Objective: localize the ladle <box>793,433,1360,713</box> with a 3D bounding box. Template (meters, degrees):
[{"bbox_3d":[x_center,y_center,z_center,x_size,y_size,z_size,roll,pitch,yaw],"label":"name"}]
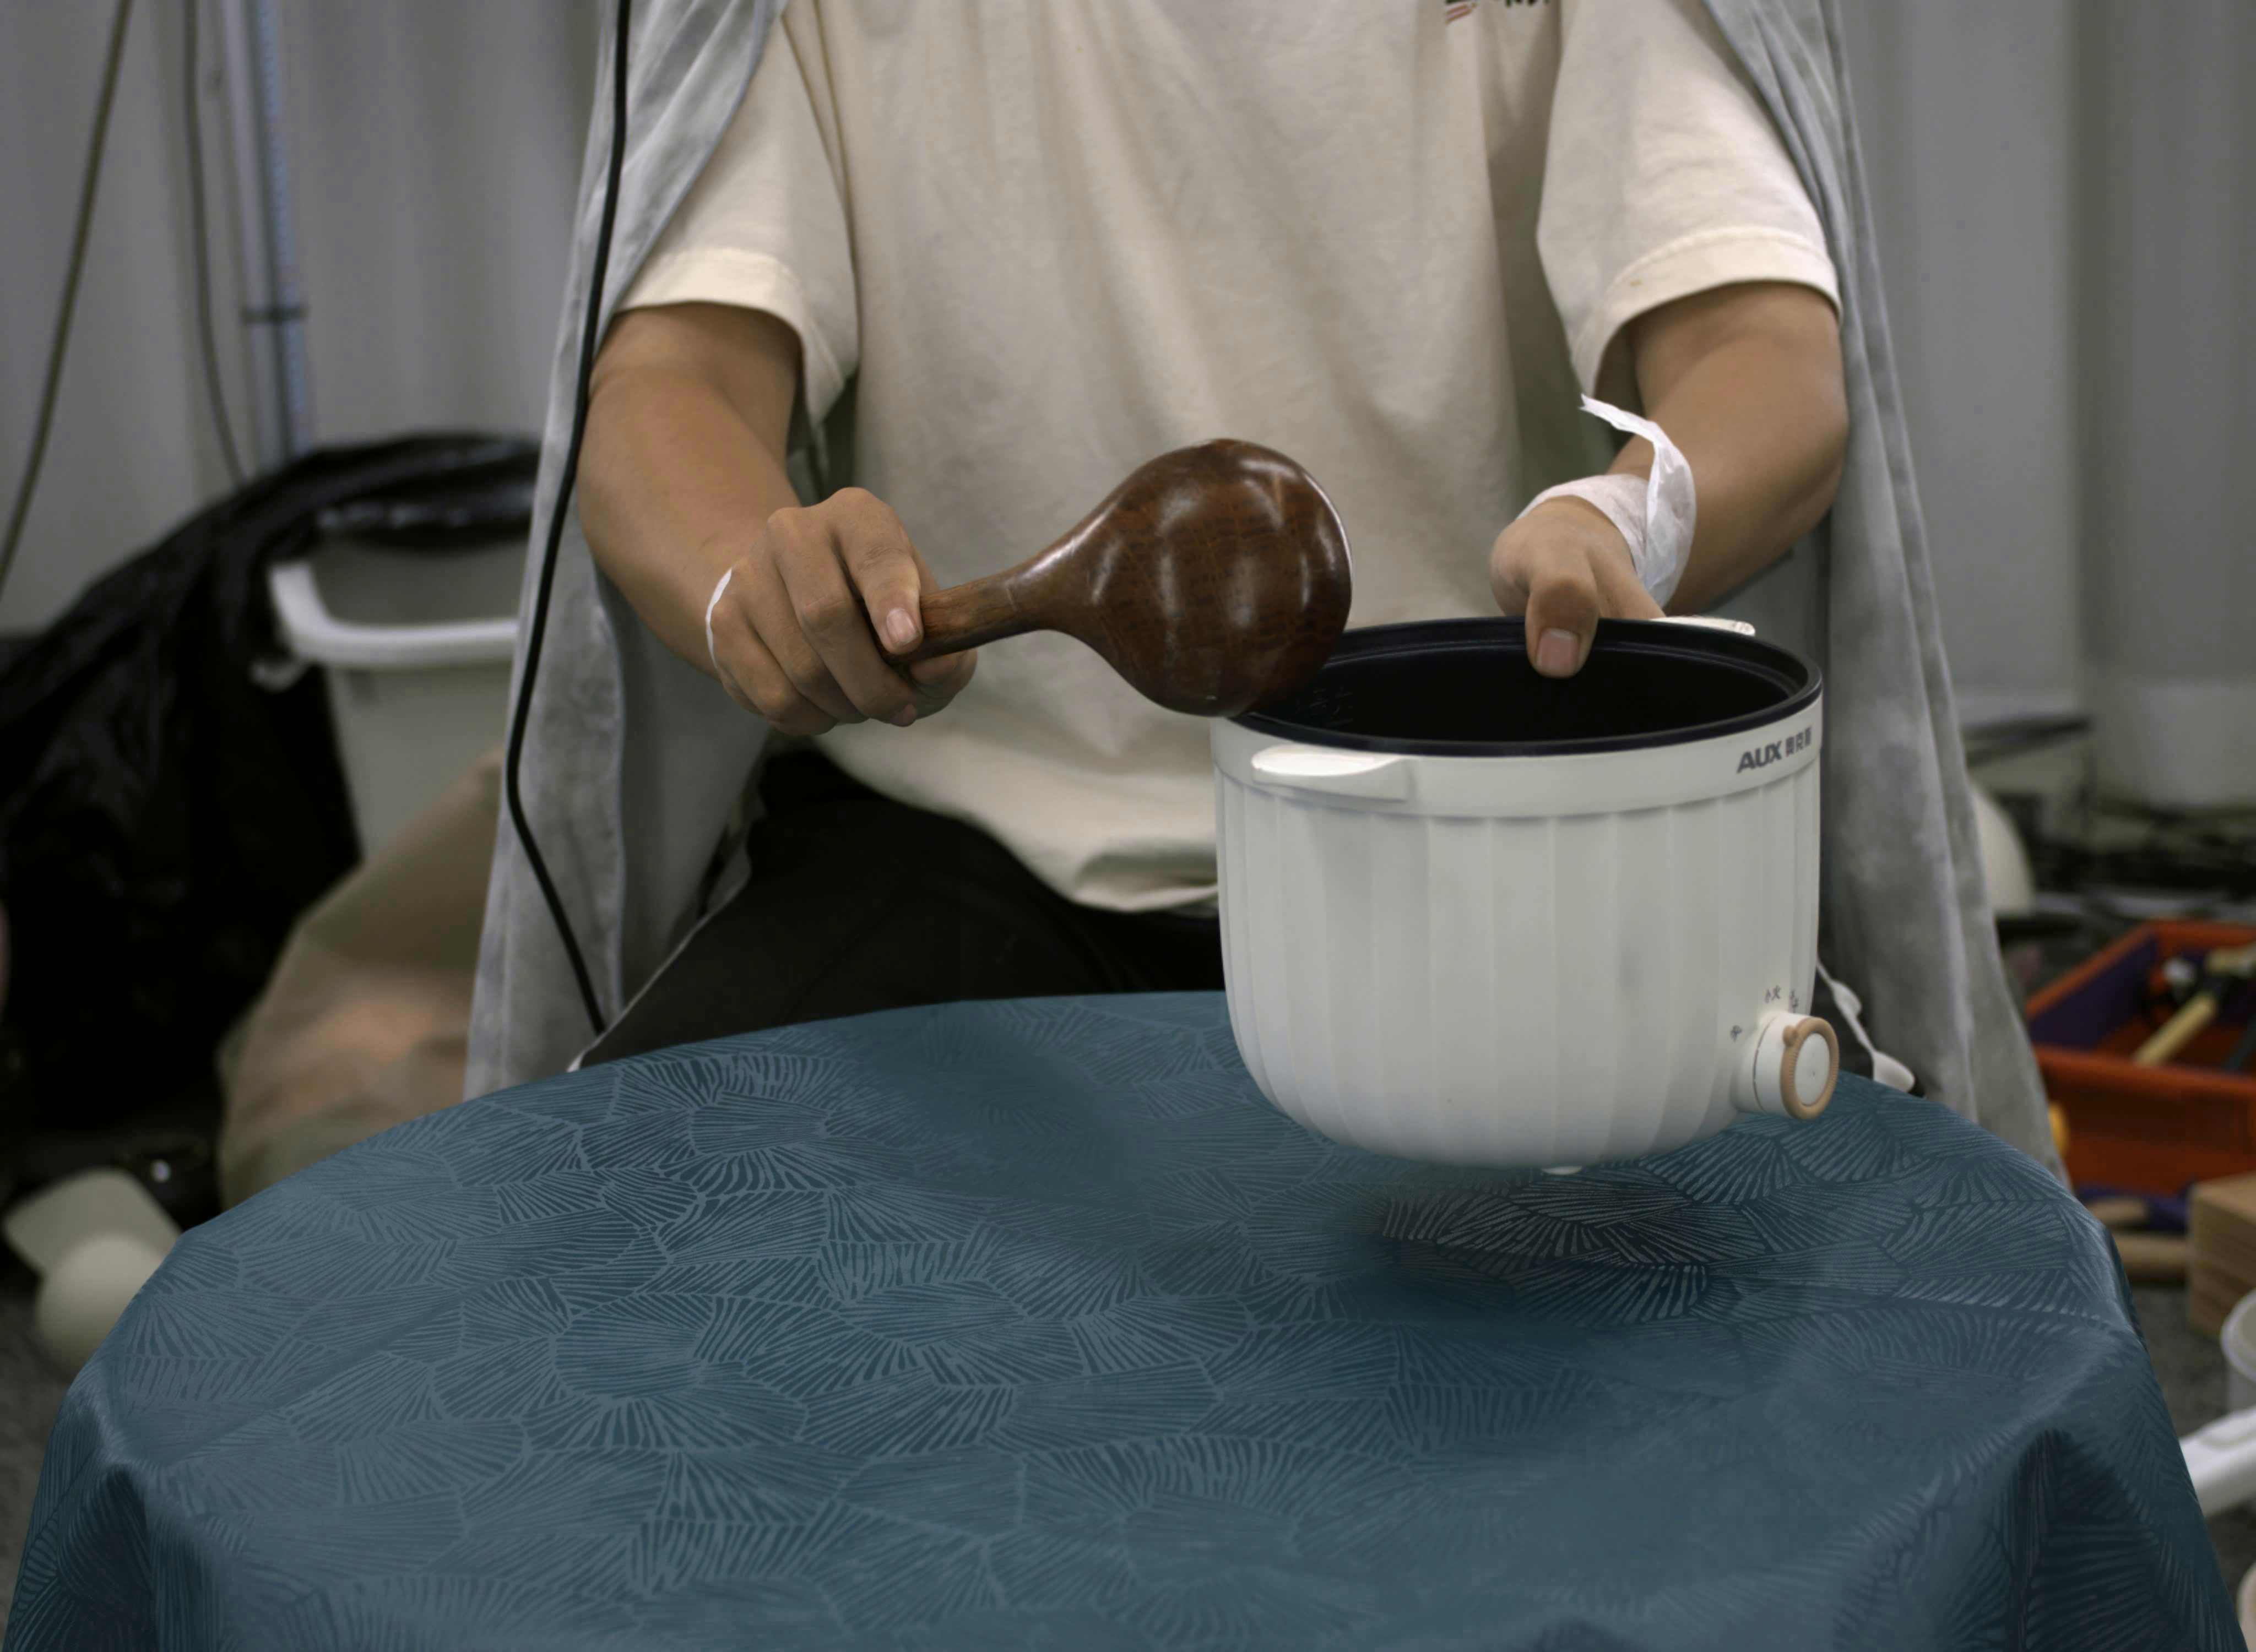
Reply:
[{"bbox_3d":[-0.019,-0.064,1.676,0.076,0.082,0.274,10,-10,-23],"label":"ladle"}]

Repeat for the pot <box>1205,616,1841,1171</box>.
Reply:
[{"bbox_3d":[0.120,0.021,1.629,0.191,0.142,0.240,4,15,36],"label":"pot"}]
